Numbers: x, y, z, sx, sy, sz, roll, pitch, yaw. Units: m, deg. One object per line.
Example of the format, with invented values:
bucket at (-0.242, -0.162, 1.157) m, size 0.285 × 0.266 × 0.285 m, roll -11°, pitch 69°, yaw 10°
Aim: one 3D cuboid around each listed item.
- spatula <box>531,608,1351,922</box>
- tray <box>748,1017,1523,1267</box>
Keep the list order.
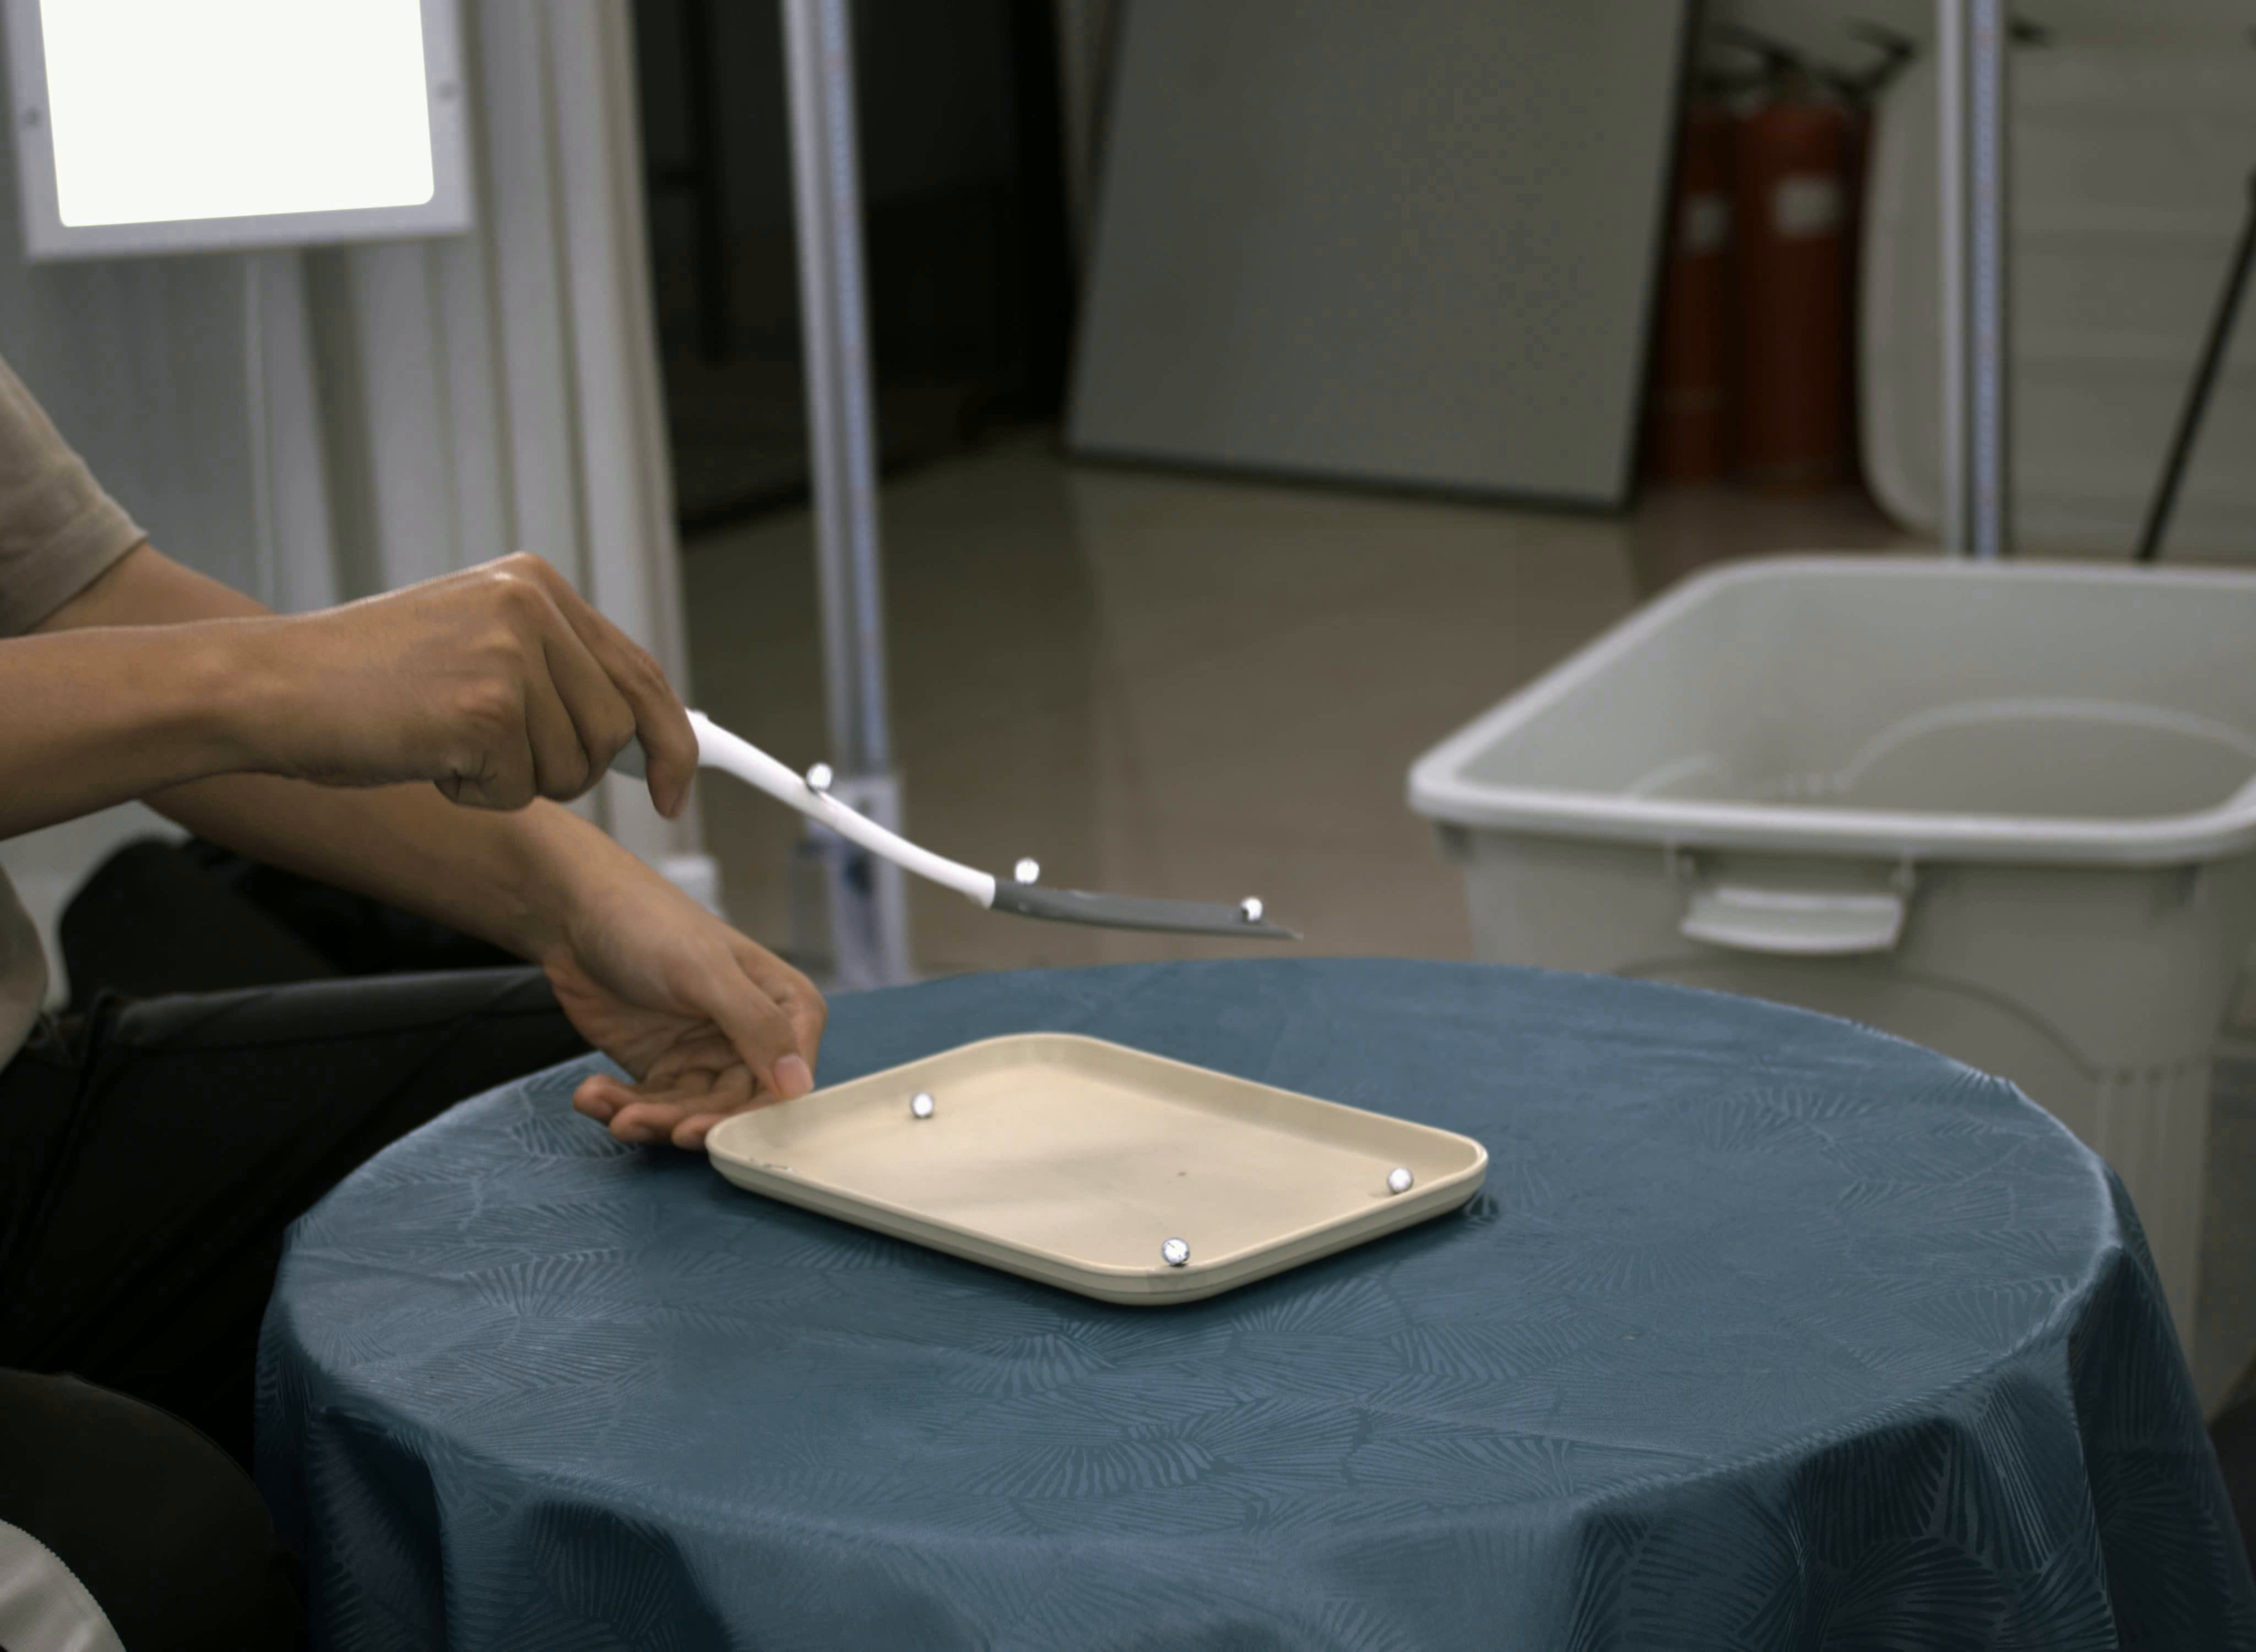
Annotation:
spatula at (-0.057, -0.009, 1.732) m, size 0.282 × 0.032 × 0.059 m, roll 20°, pitch -4°, yaw -24°
tray at (0.001, 0.104, 1.784) m, size 0.167 × 0.018 × 0.242 m, roll -14°, pitch 17°, yaw -40°
